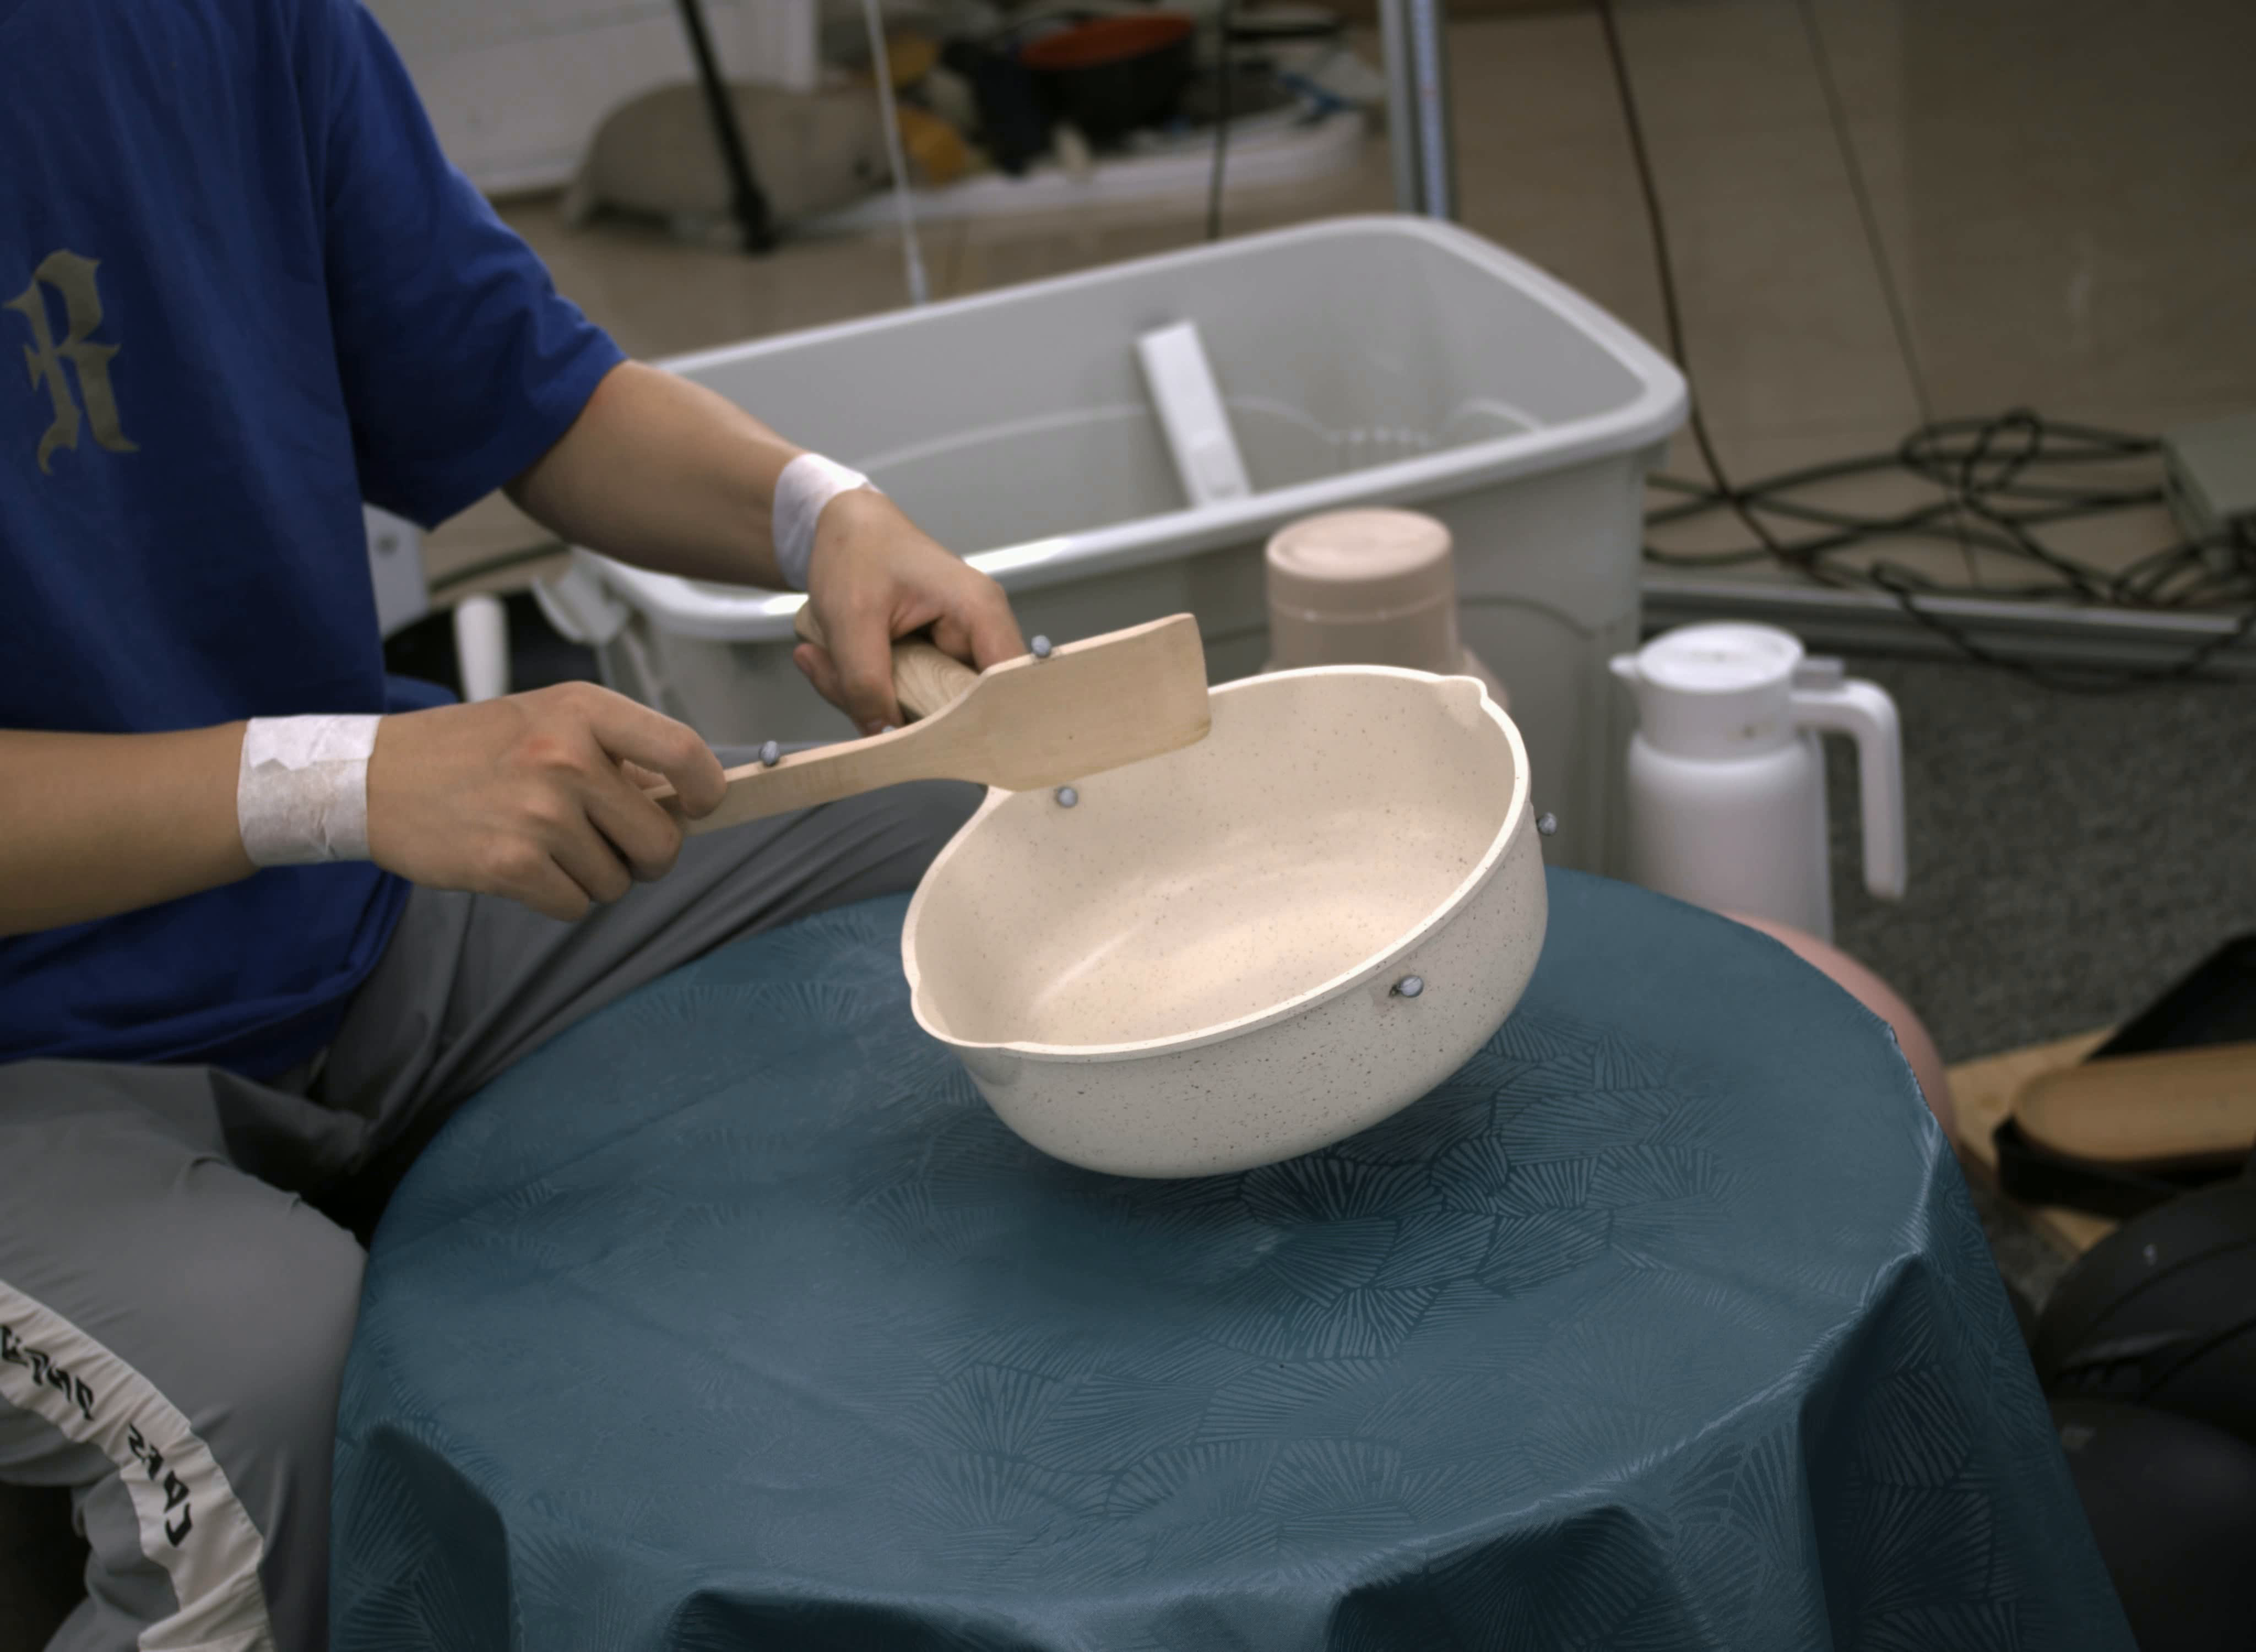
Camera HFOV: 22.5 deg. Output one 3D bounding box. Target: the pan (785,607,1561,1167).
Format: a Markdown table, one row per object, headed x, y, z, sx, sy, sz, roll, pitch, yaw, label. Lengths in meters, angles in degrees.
| x | y | z | sx | sy | sz | roll | pitch | yaw | label |
| --- | --- | --- | --- | --- | --- | --- | --- | --- | --- |
| -0.003 | 0.007 | 2.237 | 0.261 | 0.103 | 0.430 | -35 | 32 | -19 | pan |

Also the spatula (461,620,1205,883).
| x | y | z | sx | sy | sz | roll | pitch | yaw | label |
| --- | --- | --- | --- | --- | --- | --- | --- | --- | --- |
| -0.113 | -0.022 | 2.176 | 0.292 | 0.073 | 0.010 | -14 | 49 | -3 | spatula |
